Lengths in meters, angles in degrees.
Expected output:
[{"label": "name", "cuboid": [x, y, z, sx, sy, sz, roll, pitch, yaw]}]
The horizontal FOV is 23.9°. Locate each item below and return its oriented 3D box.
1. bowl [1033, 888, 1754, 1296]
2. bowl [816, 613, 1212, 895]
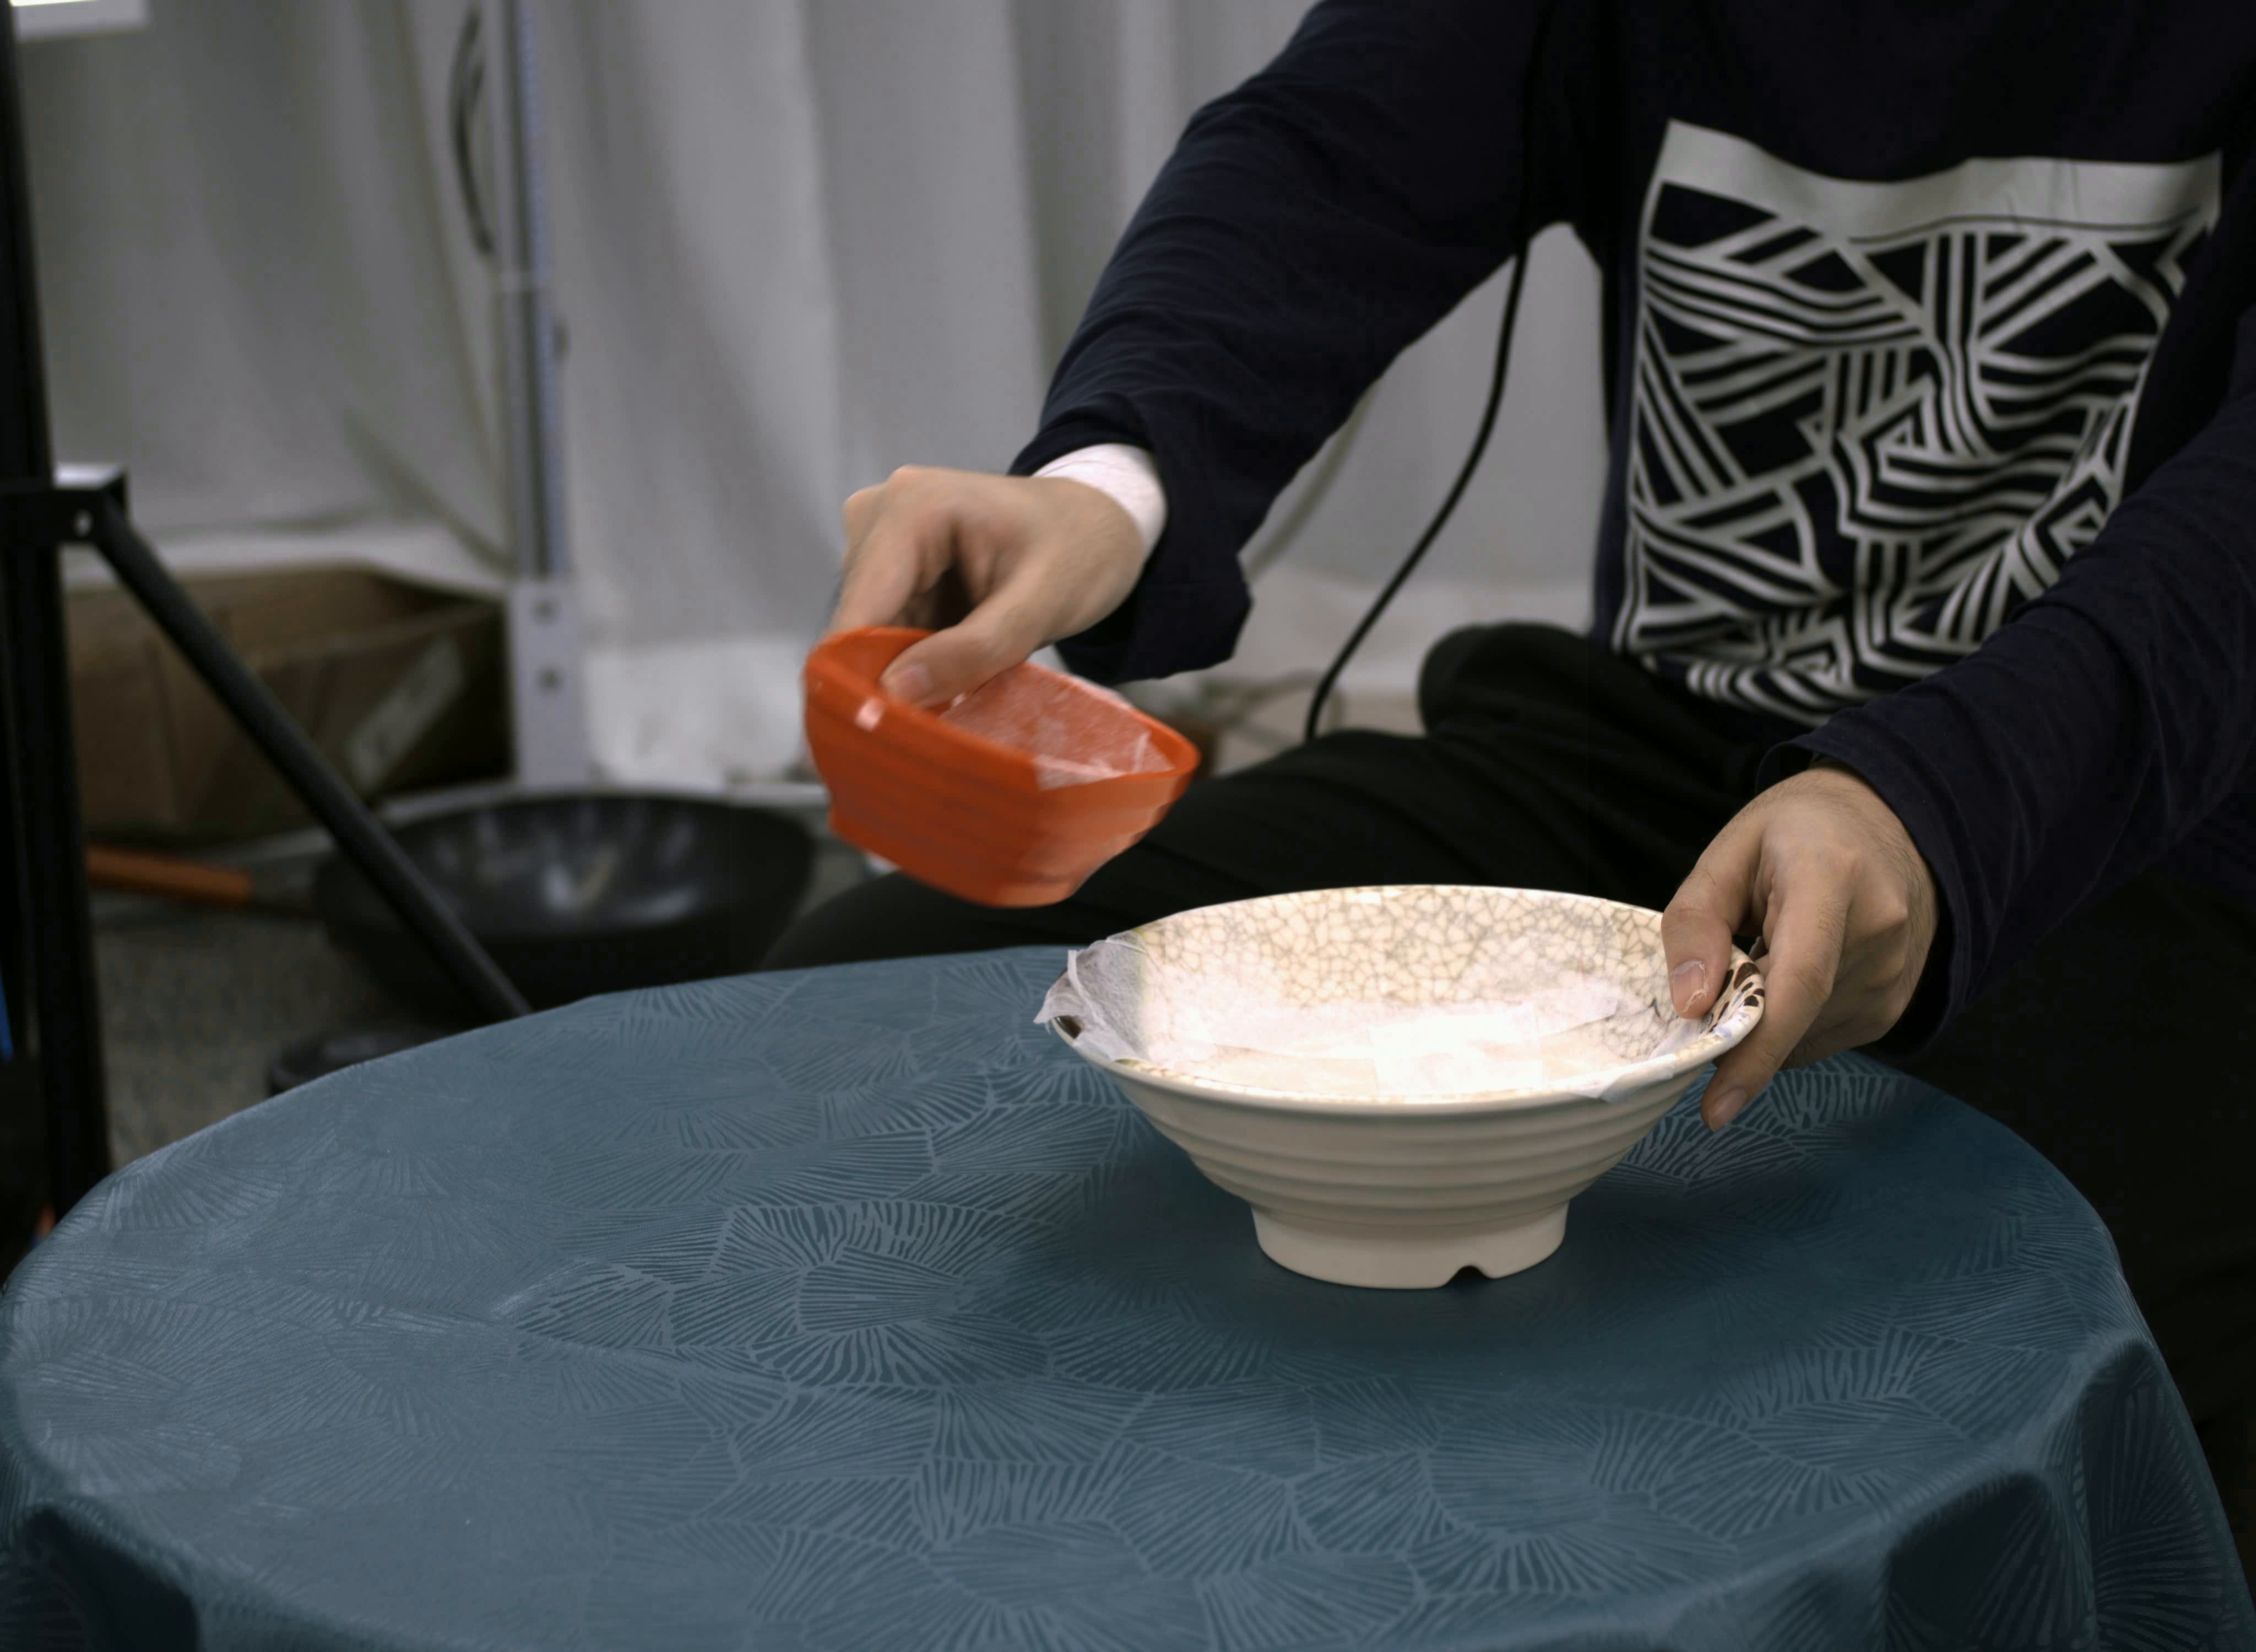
[{"label": "bowl", "cuboid": [0.074, 0.082, 1.505, 0.203, 0.078, 0.205, 1, 15, -2]}, {"label": "bowl", "cuboid": [-0.038, -0.017, 1.515, 0.118, 0.051, 0.119, 17, 13, -6]}]
